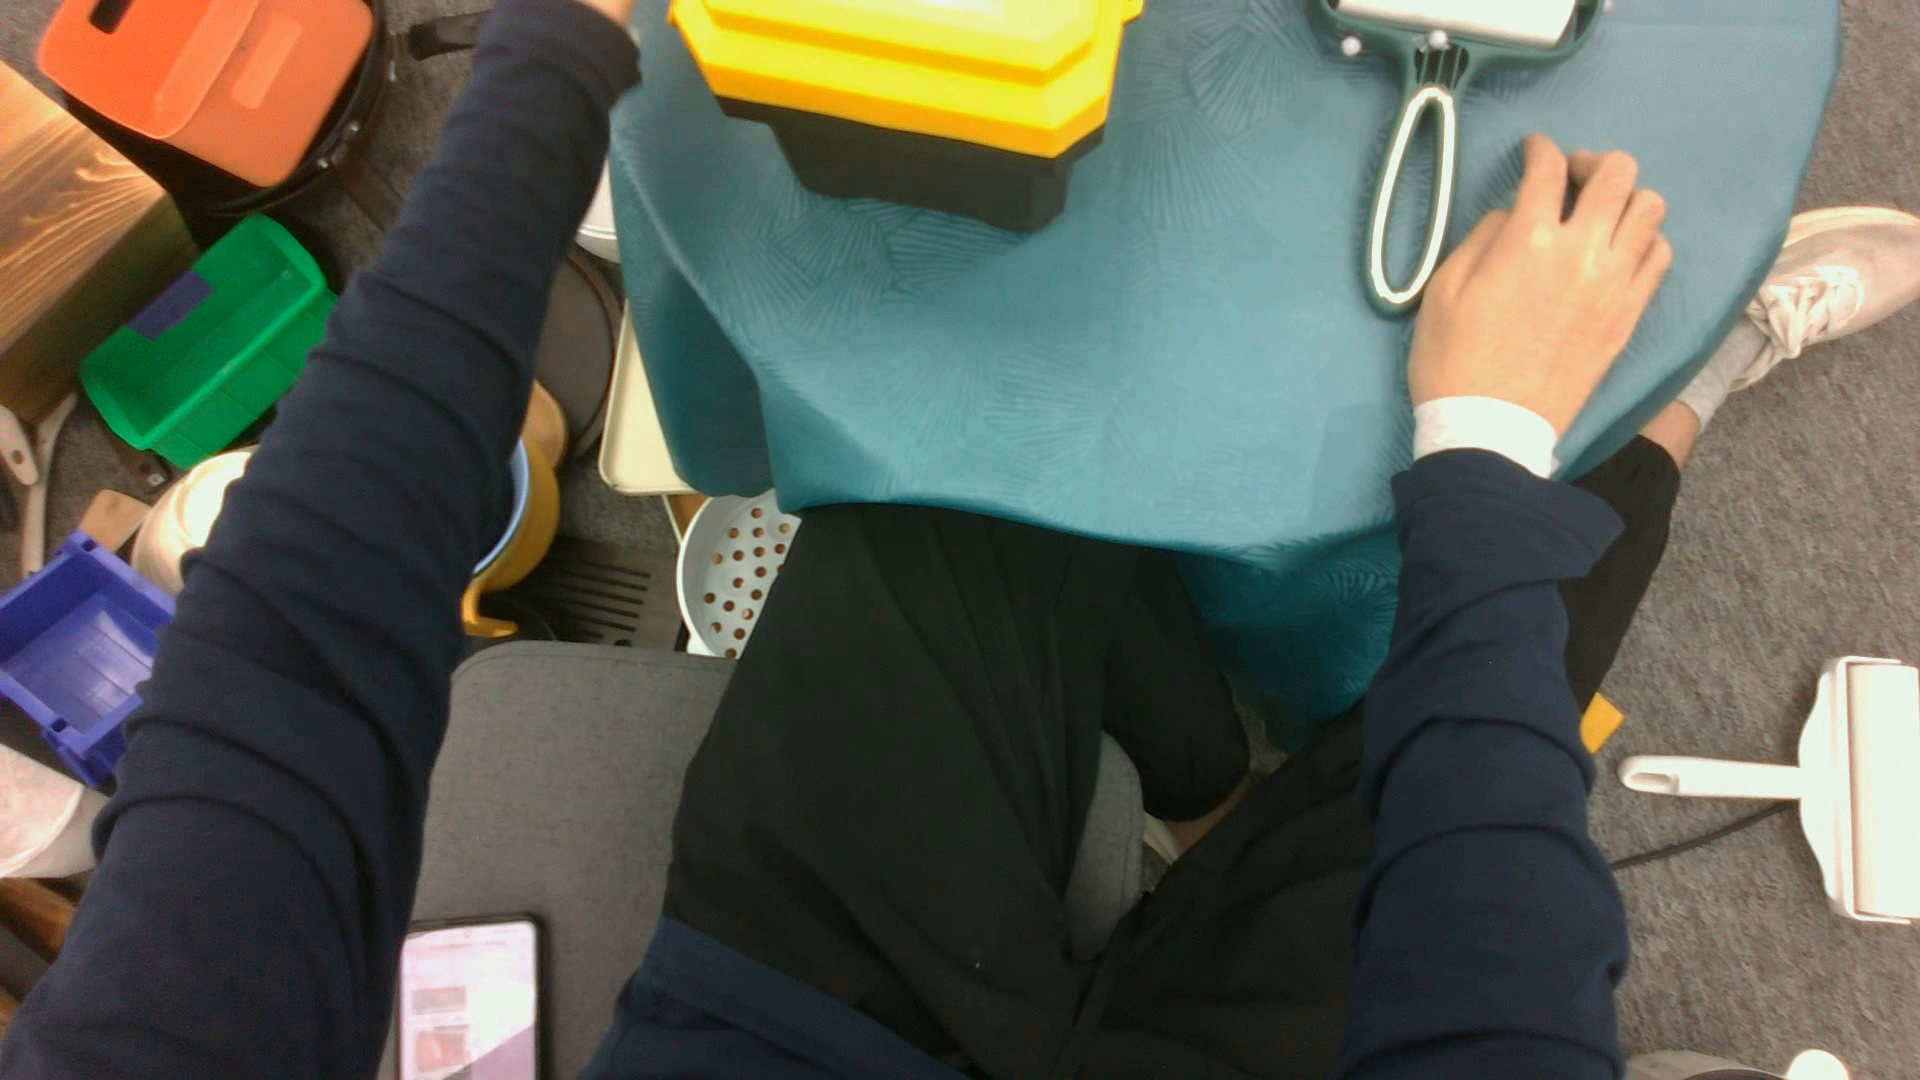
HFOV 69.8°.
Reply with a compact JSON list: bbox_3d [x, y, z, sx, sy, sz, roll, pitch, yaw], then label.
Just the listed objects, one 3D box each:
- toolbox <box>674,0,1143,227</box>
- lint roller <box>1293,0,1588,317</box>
[{"bbox_3d":[0.007,-0.322,0.593,0.181,0.172,0.352,11,81,4],"label":"toolbox"},{"bbox_3d":[0.208,-0.194,0.631,0.134,0.048,0.180,11,84,3],"label":"lint roller"}]
